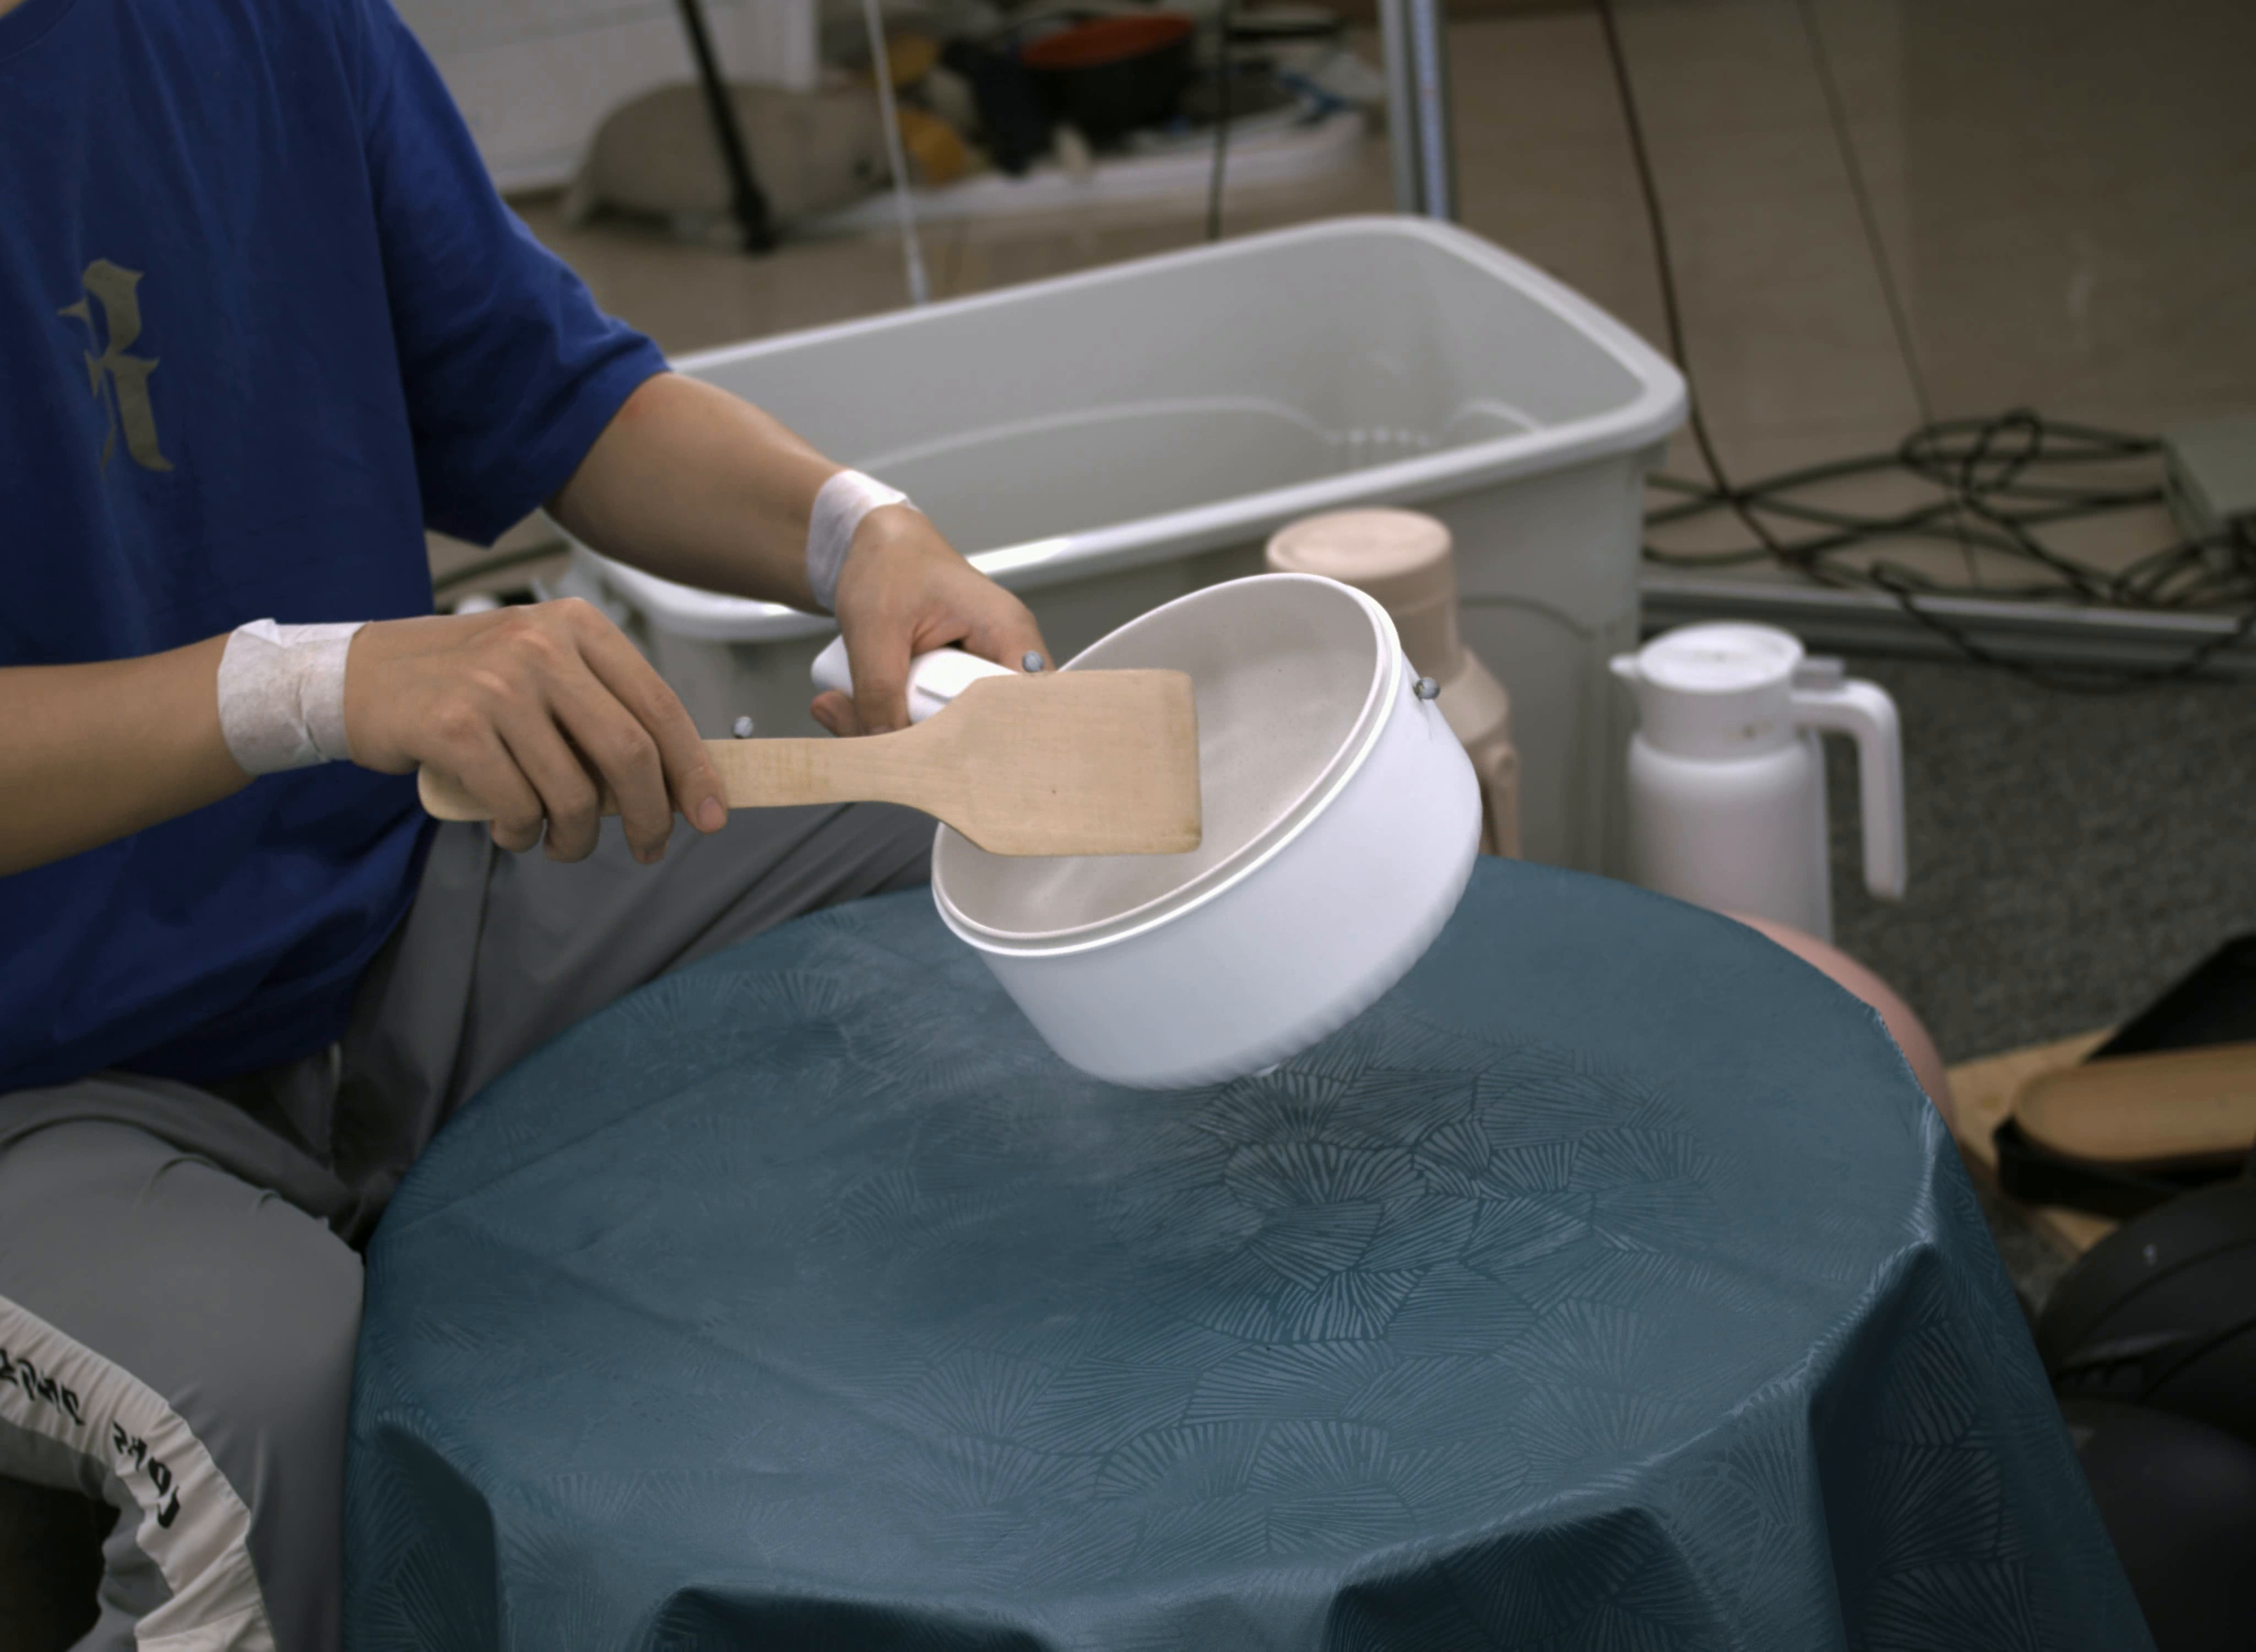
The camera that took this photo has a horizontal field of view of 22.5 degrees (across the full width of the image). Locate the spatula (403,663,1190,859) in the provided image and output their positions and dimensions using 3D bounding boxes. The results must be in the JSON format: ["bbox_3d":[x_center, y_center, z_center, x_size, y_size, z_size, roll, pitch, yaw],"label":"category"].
[{"bbox_3d":[-0.121,-0.021,2.098,0.292,0.072,0.010,-2,0,-8],"label":"spatula"}]

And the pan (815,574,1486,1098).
[{"bbox_3d":[-0.004,-0.007,2.198,0.200,0.103,0.352,-47,32,-14],"label":"pan"}]
